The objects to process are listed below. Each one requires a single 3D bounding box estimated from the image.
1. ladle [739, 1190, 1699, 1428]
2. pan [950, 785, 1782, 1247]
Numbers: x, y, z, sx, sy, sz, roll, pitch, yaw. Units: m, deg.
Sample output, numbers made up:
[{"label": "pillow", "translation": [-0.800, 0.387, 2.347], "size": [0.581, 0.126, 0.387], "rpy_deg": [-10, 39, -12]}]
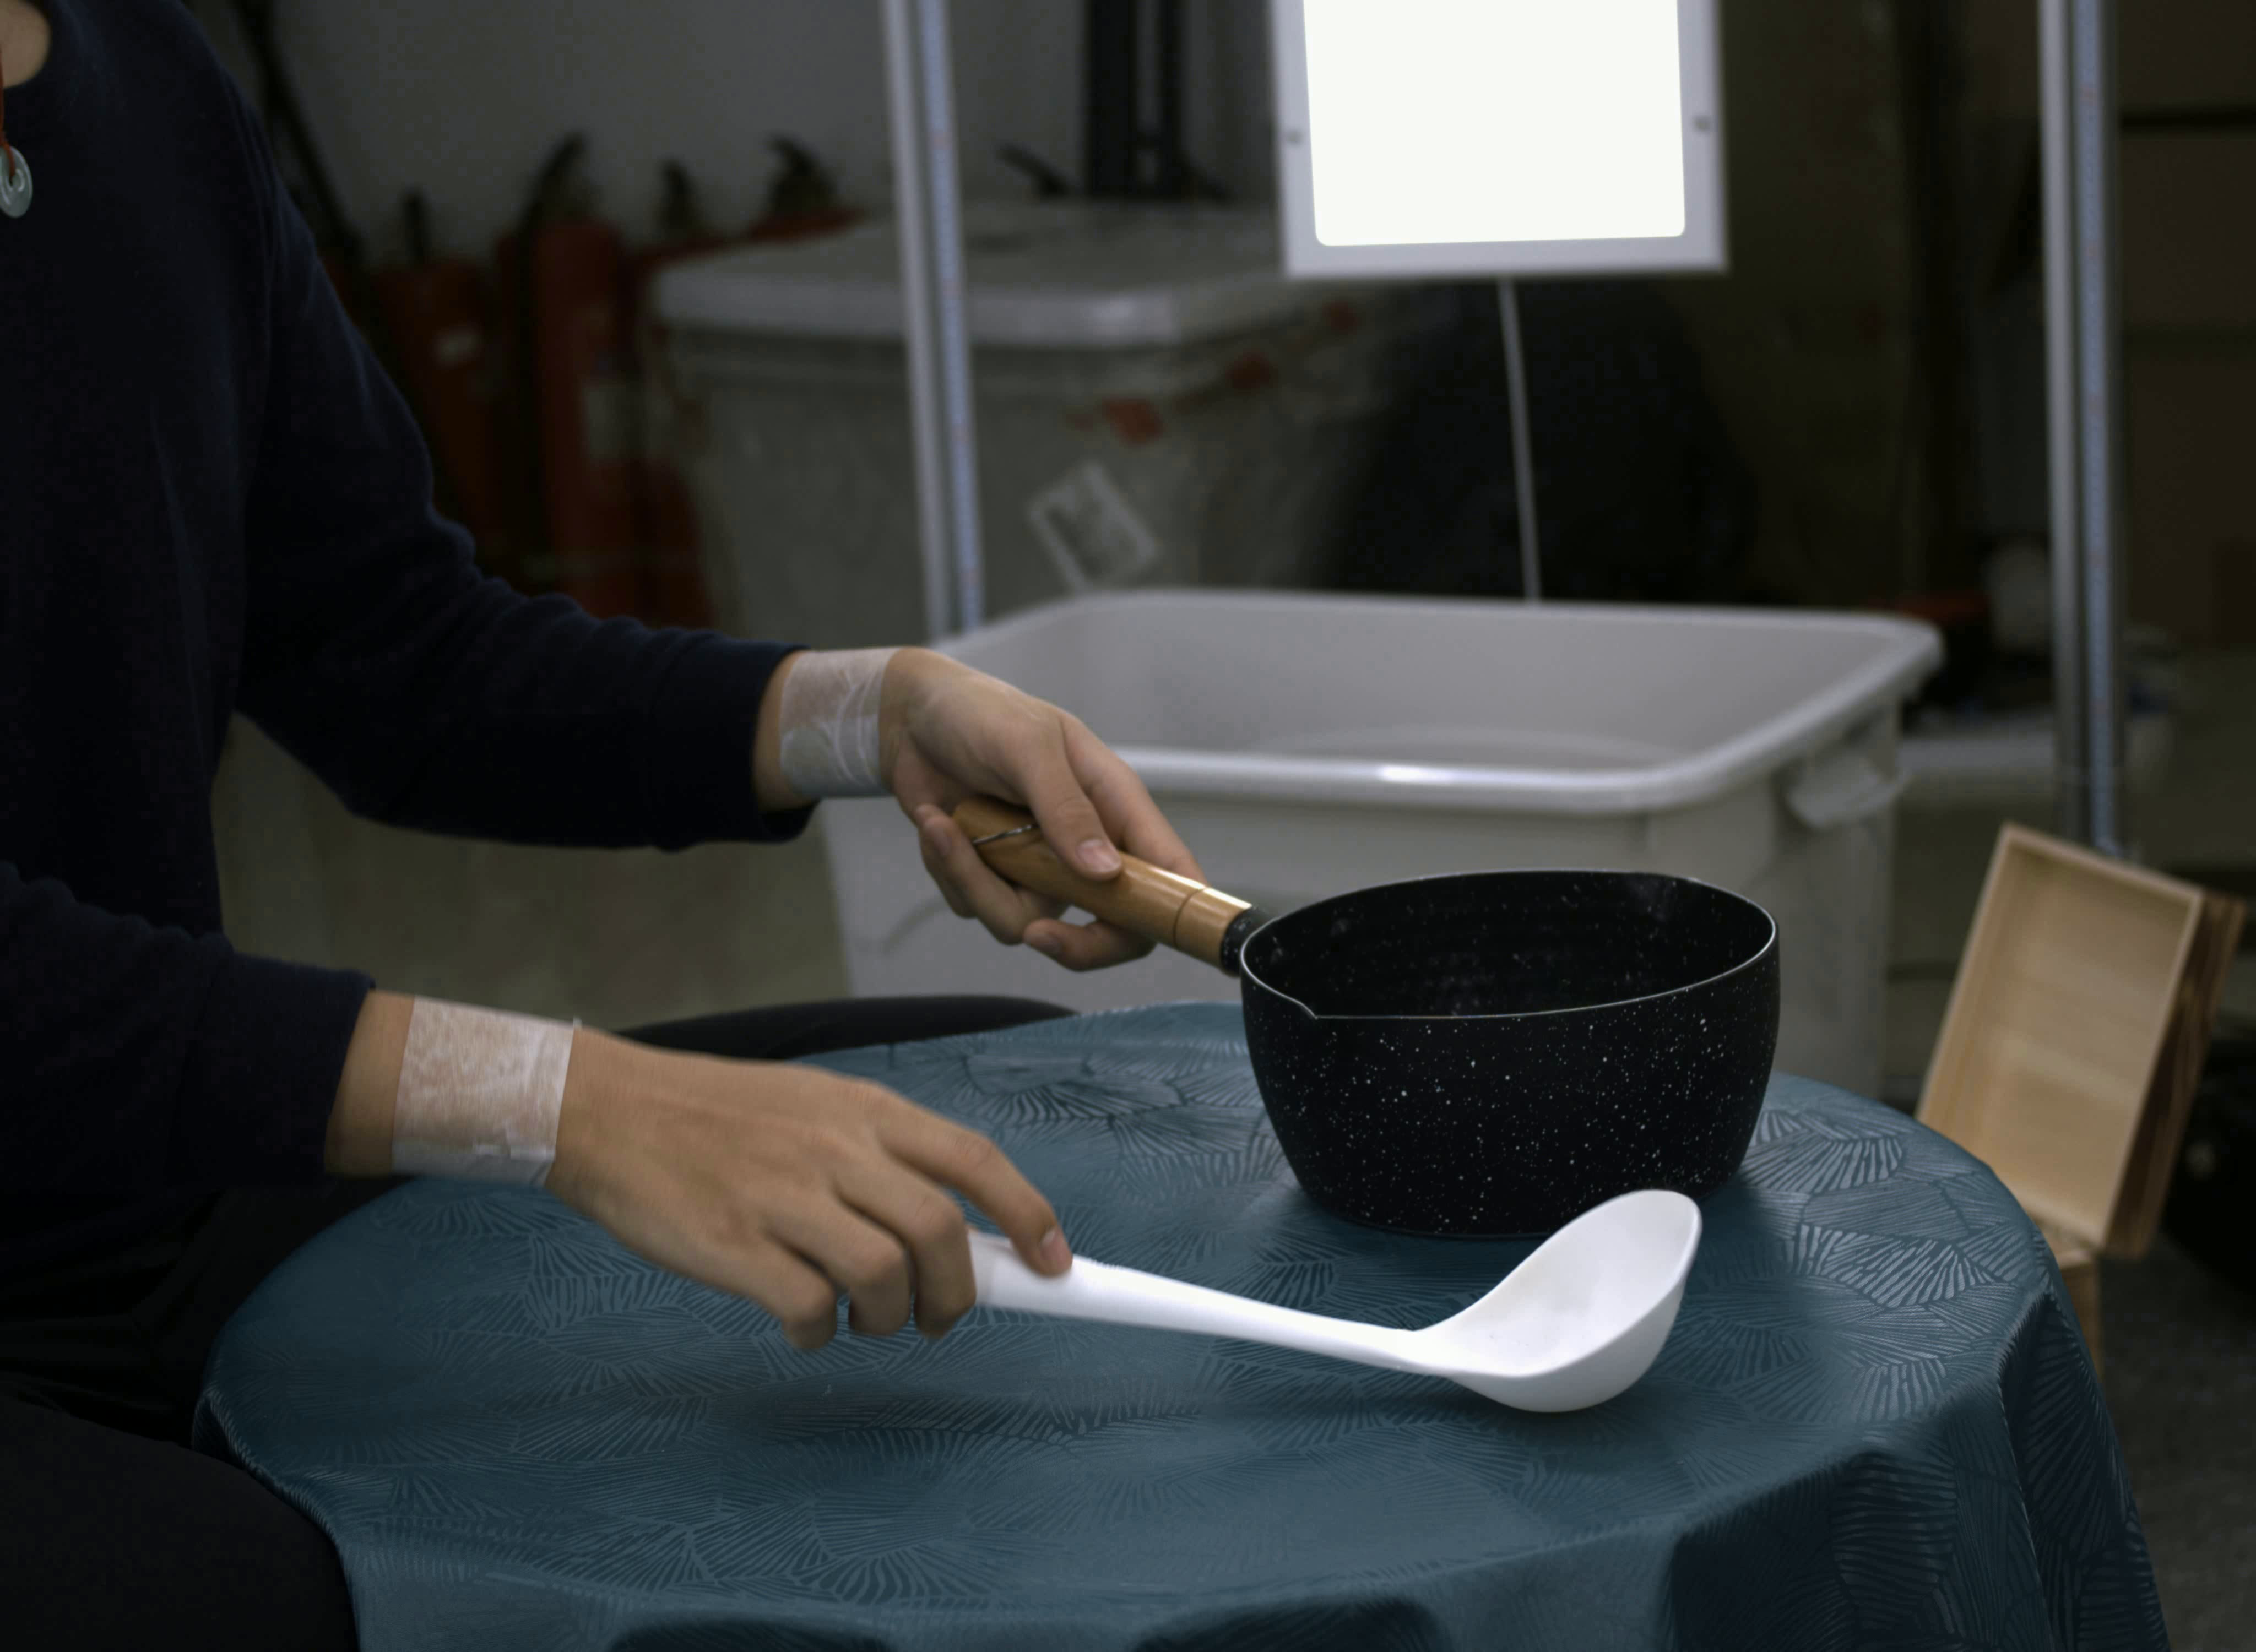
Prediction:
[{"label": "ladle", "translation": [0.025, 0.133, 1.663], "size": [0.295, 0.070, 0.089], "rpy_deg": [7, 37, 12]}, {"label": "pan", "translation": [0.070, 0.059, 1.920], "size": [0.350, 0.108, 0.202], "rpy_deg": [9, 20, 40]}]
